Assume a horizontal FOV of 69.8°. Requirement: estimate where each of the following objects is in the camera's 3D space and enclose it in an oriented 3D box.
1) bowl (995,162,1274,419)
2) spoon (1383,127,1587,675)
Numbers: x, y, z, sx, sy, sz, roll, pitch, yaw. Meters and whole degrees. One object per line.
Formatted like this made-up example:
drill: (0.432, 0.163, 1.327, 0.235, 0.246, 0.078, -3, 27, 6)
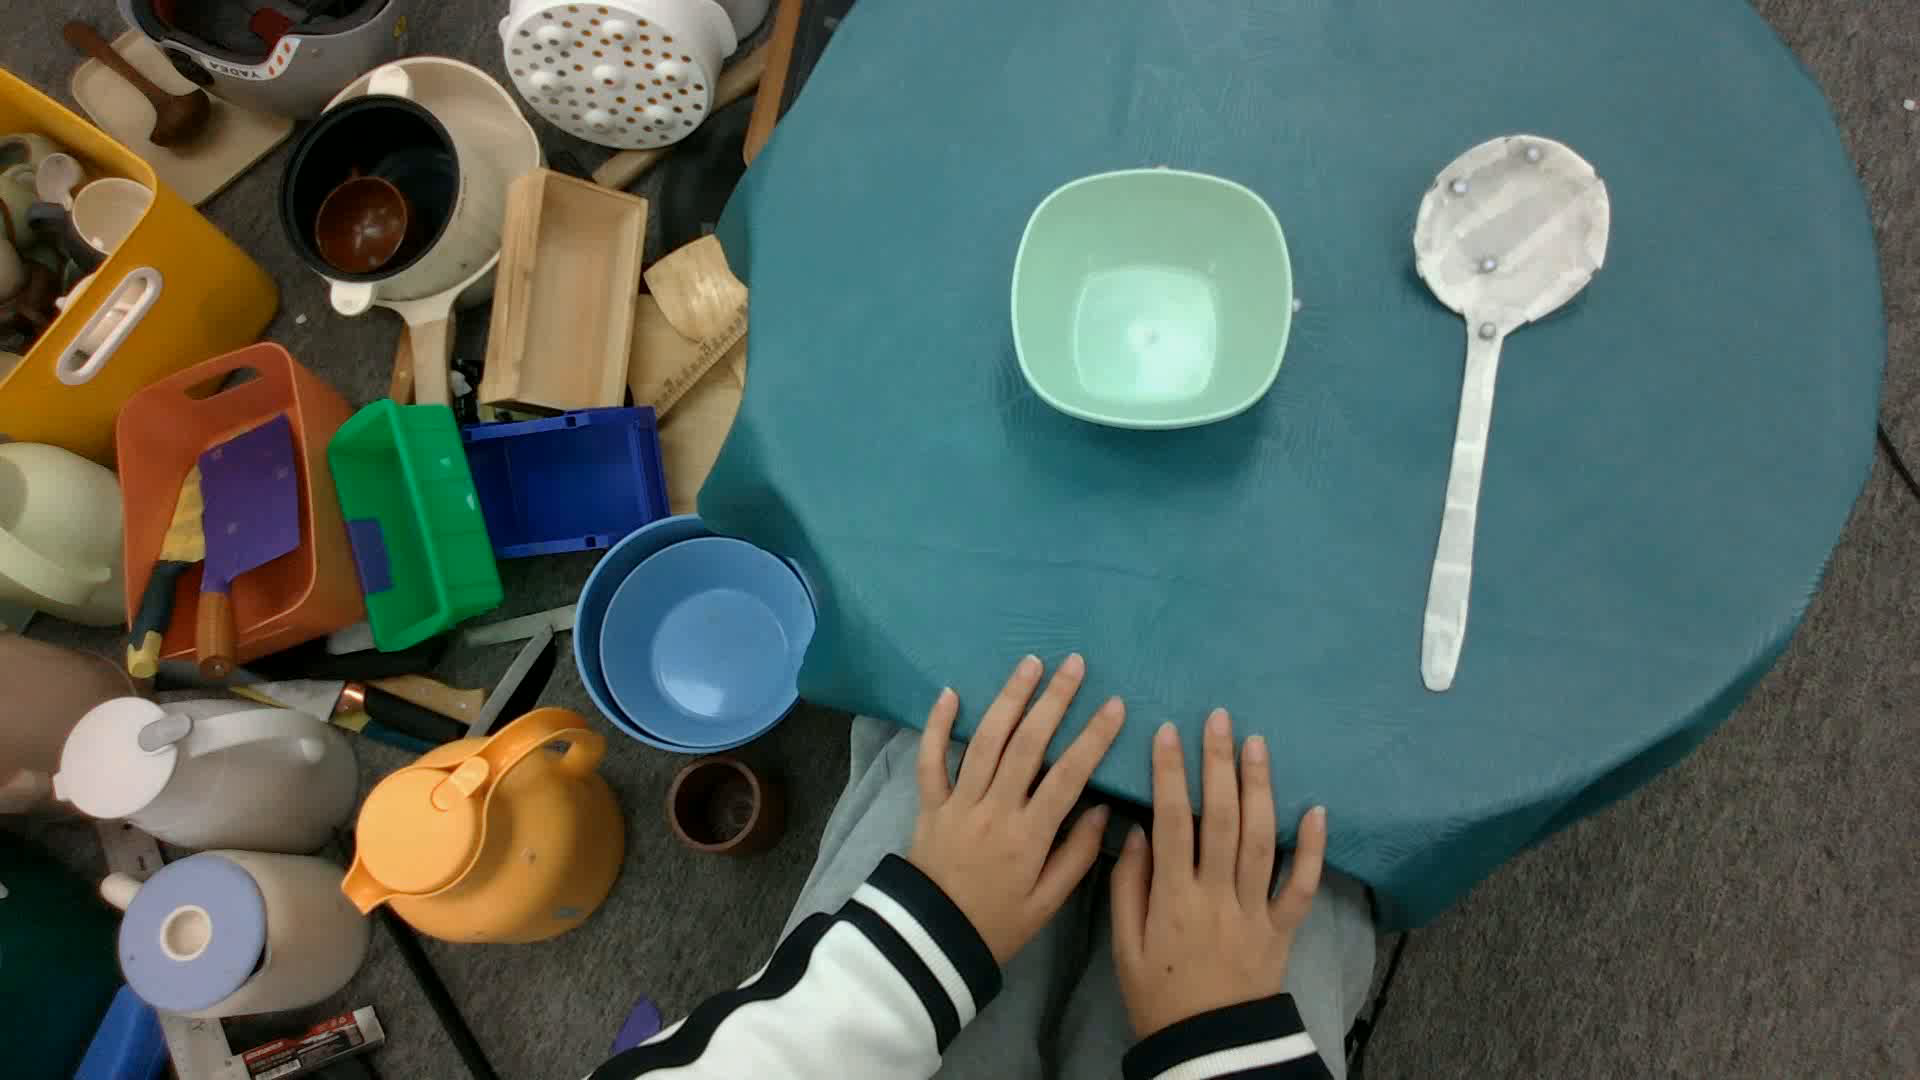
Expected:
bowl: (0.089, -0.120, 0.712, 0.151, 0.058, 0.152, -1, 74, 3)
spoon: (0.243, -0.071, 0.686, 0.100, 0.059, 0.278, 13, 75, 12)
